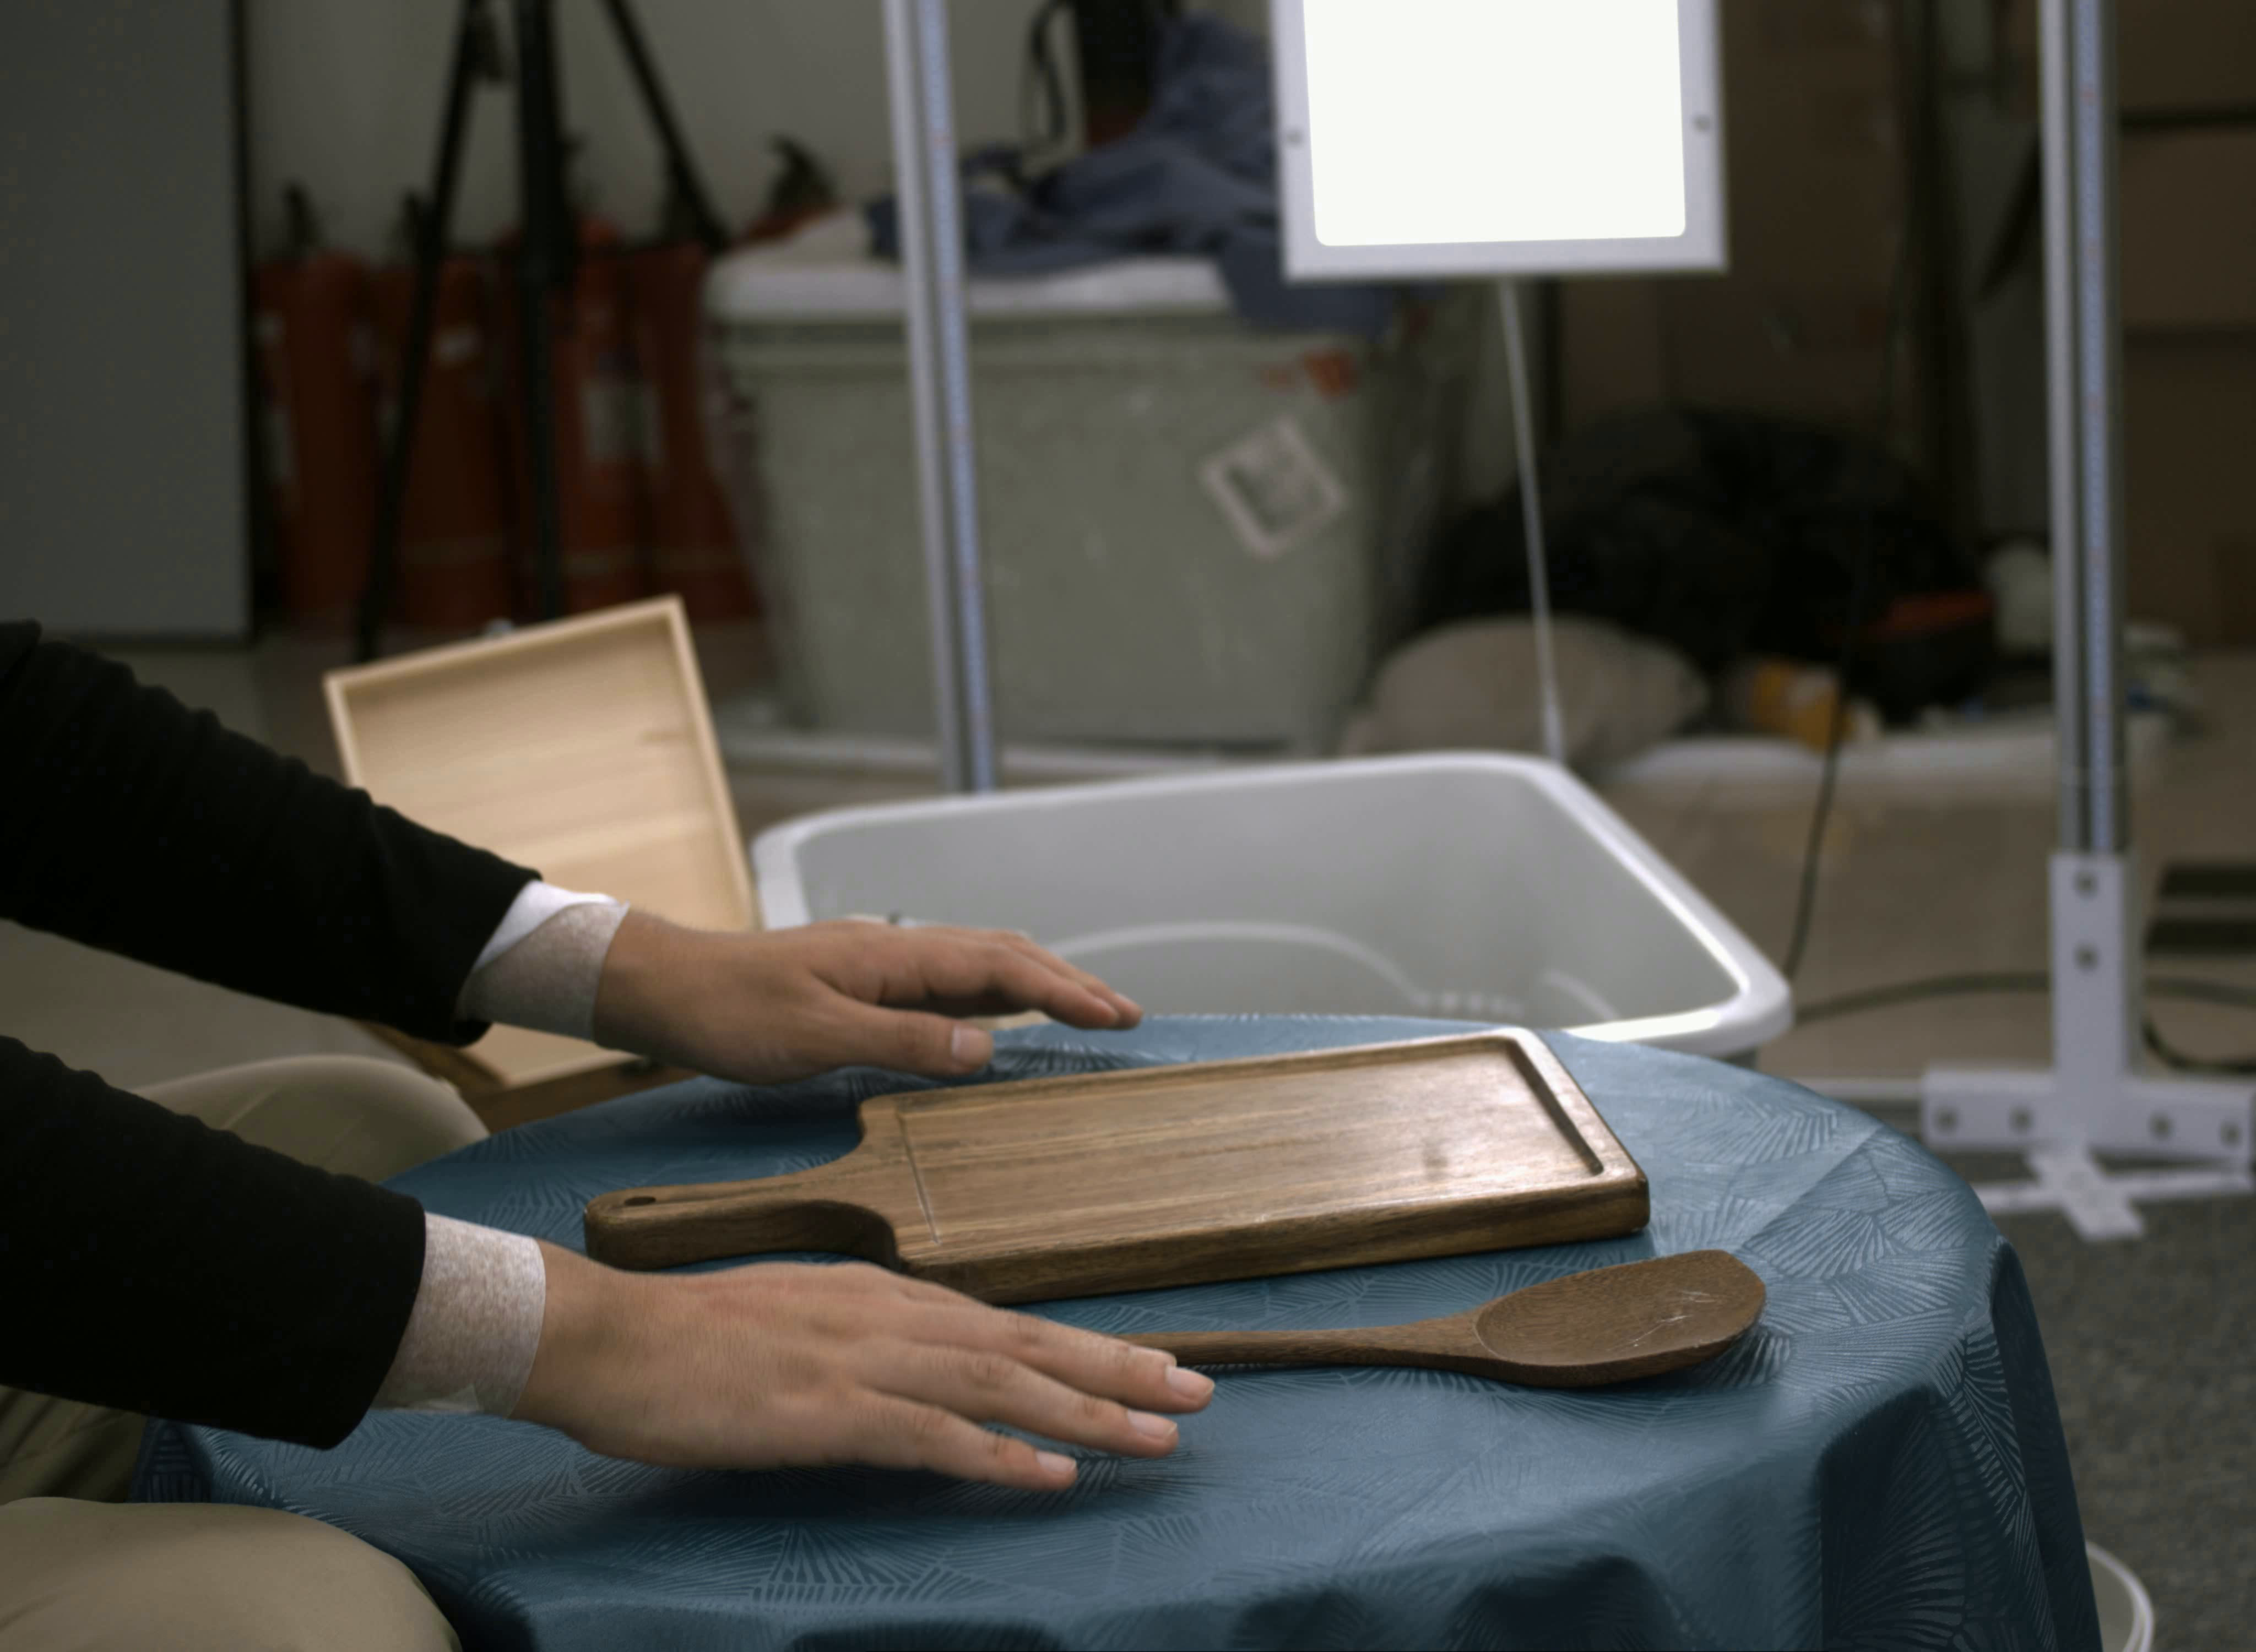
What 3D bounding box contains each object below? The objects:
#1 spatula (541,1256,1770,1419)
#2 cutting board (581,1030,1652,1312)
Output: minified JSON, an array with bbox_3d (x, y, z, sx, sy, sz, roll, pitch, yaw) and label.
[{"bbox_3d":[0.007,0.163,1.714,0.386,0.016,0.095,-4,13,5],"label":"spatula"},{"bbox_3d":[-0.012,0.120,1.884,0.350,0.023,0.201,-6,14,-4],"label":"cutting board"}]
